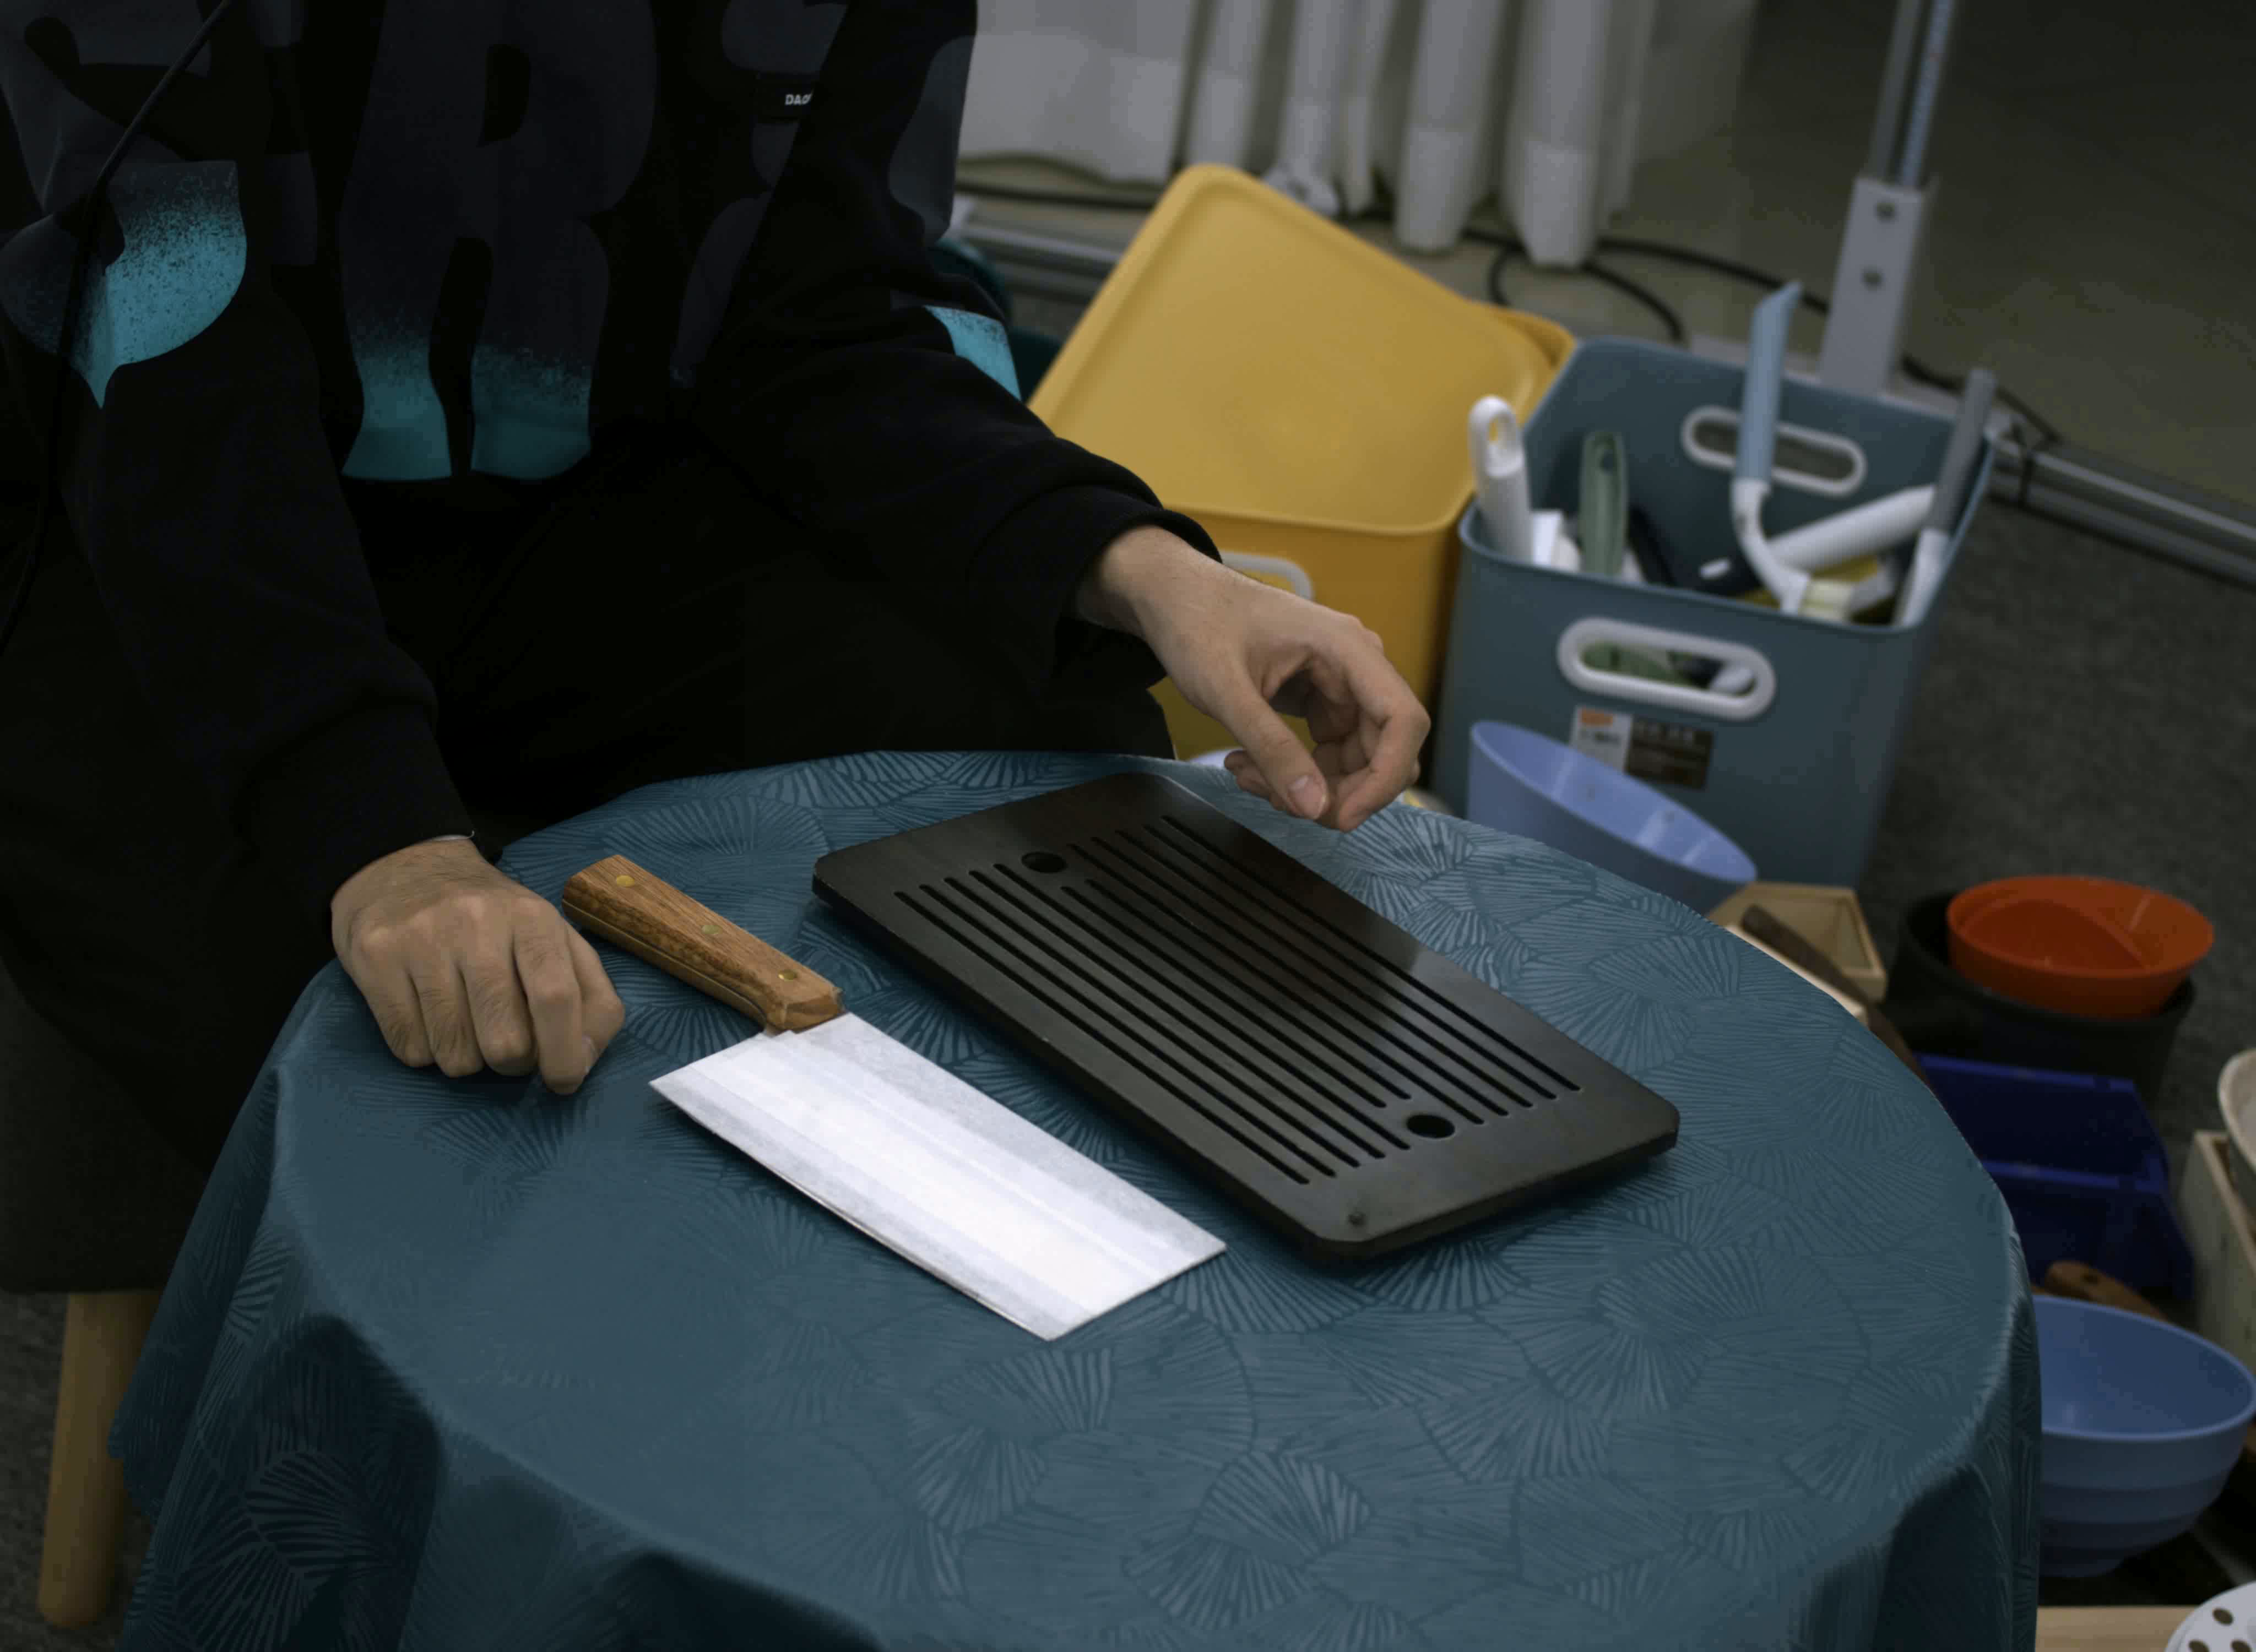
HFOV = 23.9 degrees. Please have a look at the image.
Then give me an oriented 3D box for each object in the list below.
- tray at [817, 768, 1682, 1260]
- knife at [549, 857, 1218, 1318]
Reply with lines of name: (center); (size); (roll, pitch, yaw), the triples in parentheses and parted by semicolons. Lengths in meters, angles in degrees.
tray: (0.039, 0.064, 1.908); (0.169, 0.018, 0.308); (-15, 34, -36)
knife: (-0.106, 0.090, 1.828); (0.308, 0.021, 0.092); (29, 36, 34)
